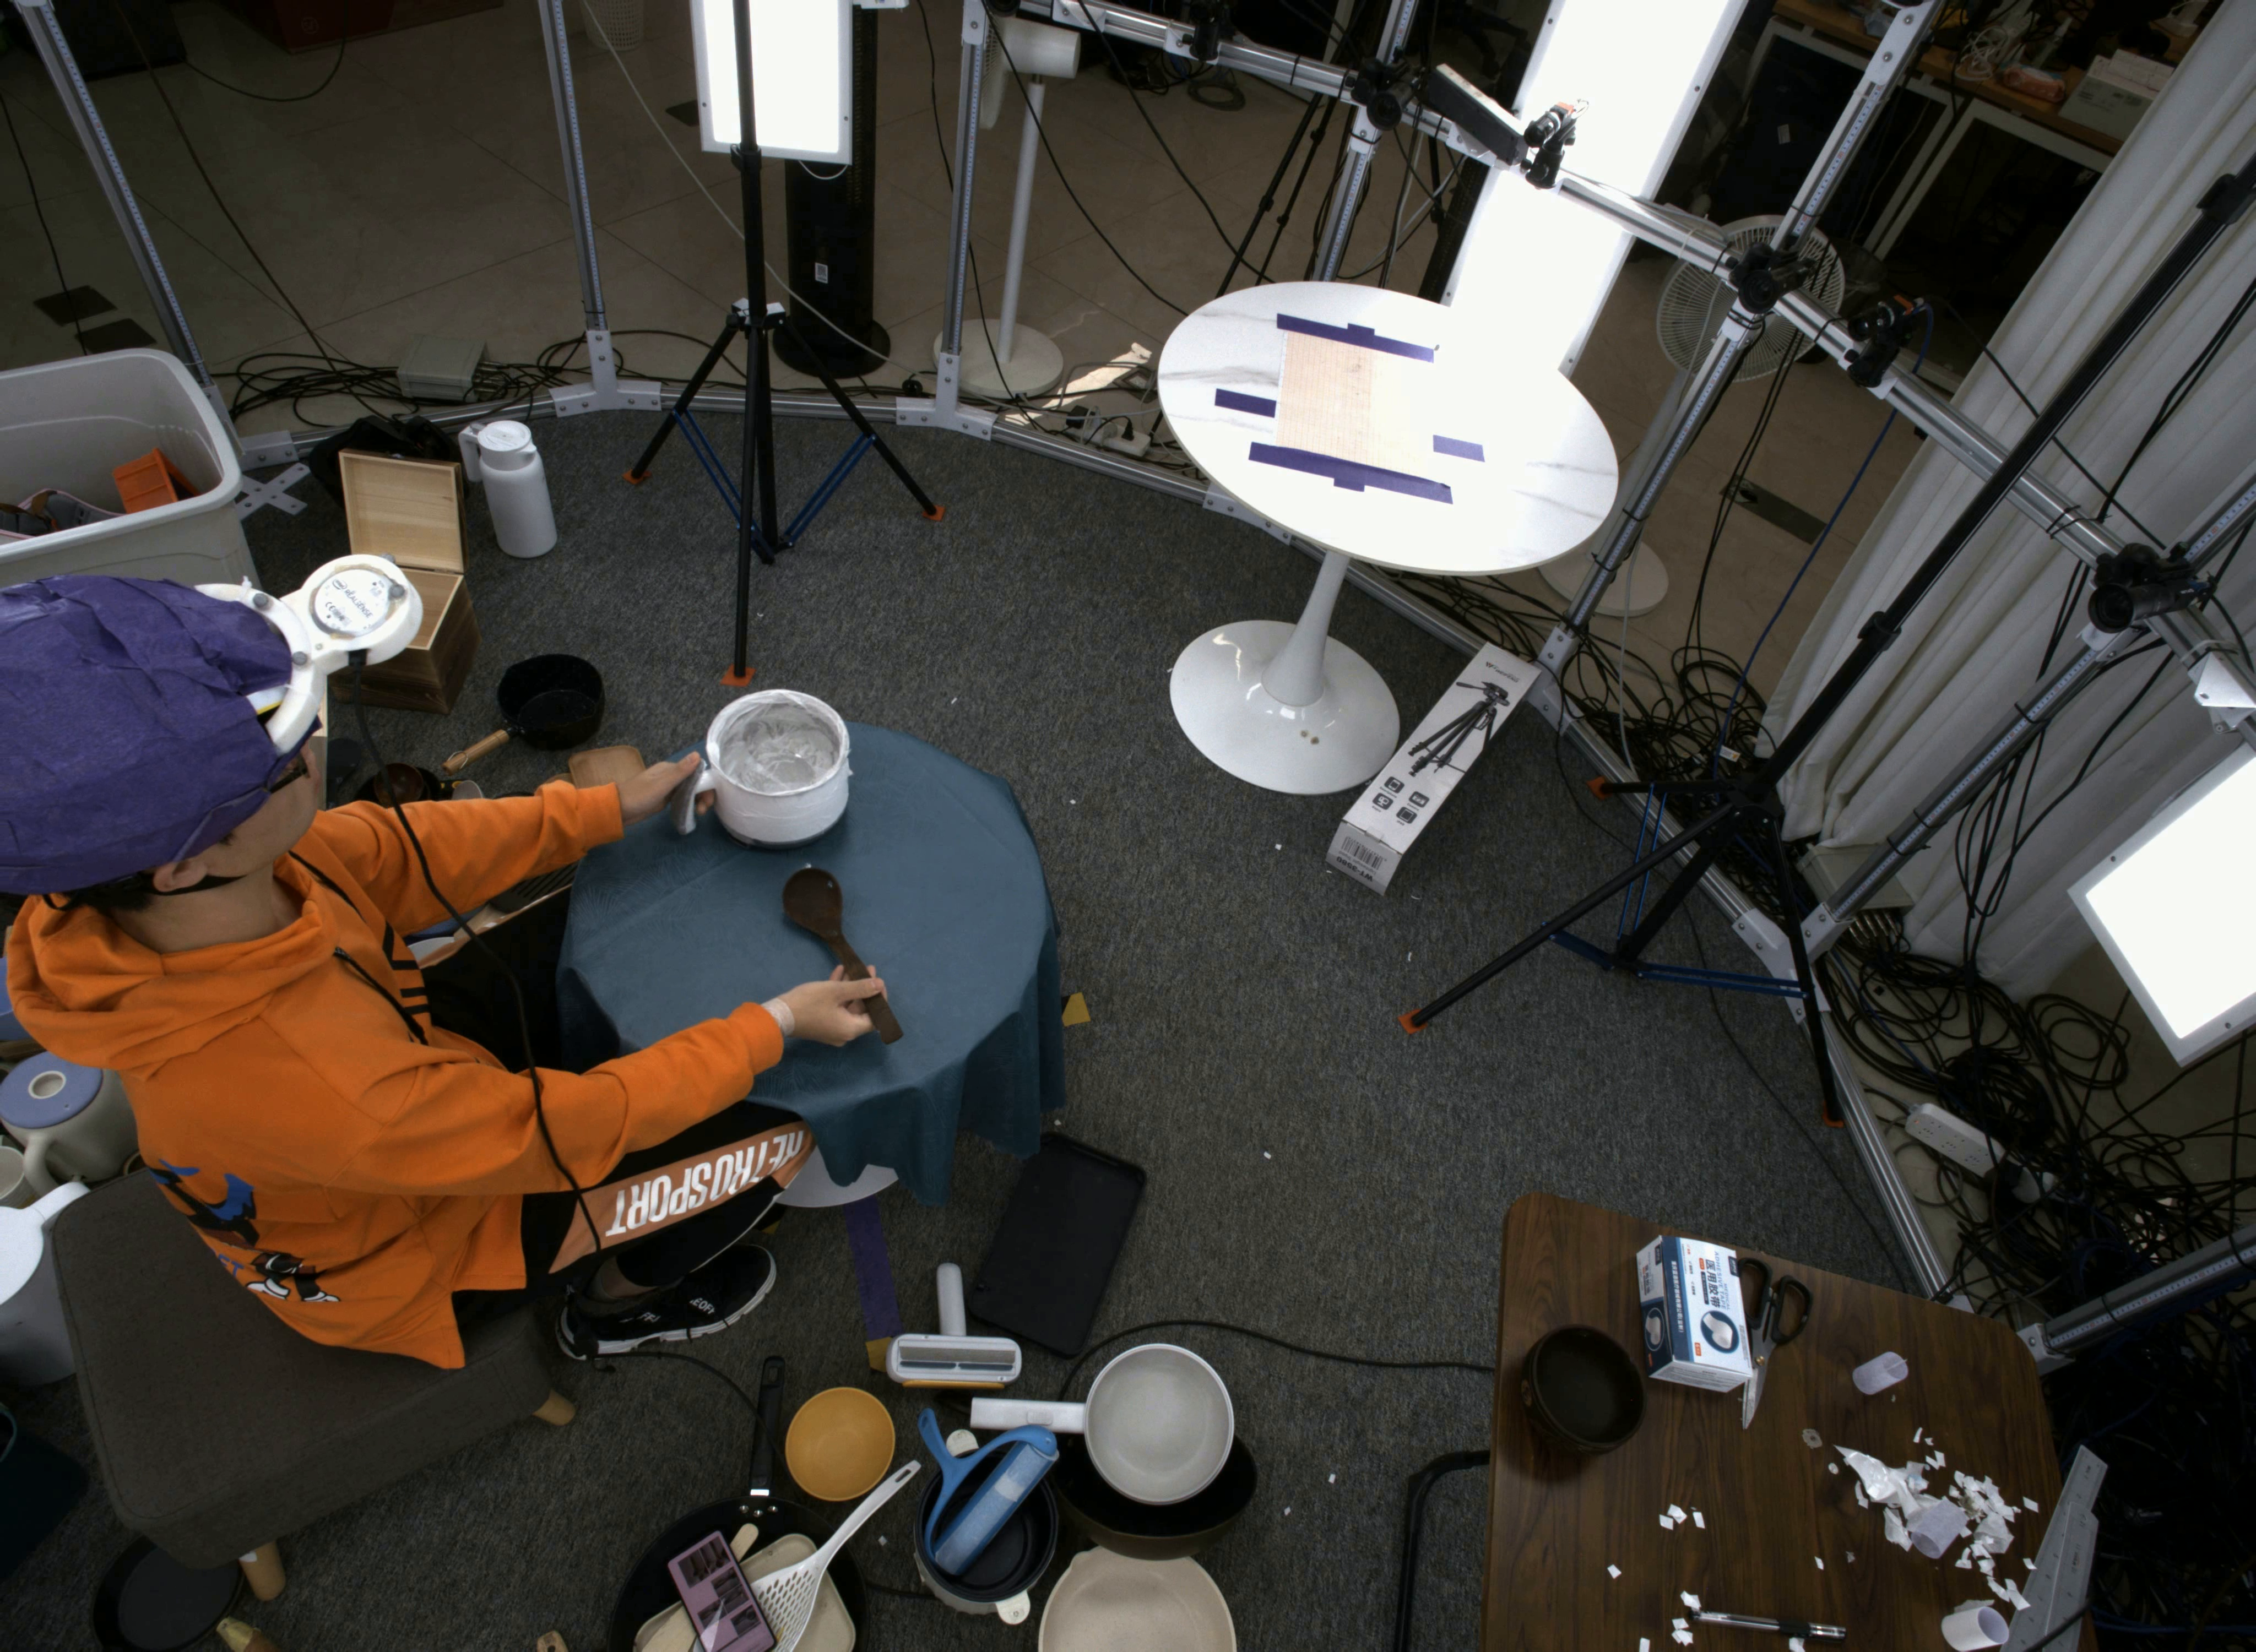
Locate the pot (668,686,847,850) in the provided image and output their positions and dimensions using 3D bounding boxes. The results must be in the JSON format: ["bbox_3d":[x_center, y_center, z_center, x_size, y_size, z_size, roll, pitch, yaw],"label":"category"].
[{"bbox_3d":[-0.476,-0.062,1.657,0.235,0.139,0.174,-21,60,-28],"label":"pot"}]

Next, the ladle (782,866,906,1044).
[{"bbox_3d":[-0.339,0.146,1.553,0.076,0.074,0.264,-28,48,-18],"label":"ladle"}]
